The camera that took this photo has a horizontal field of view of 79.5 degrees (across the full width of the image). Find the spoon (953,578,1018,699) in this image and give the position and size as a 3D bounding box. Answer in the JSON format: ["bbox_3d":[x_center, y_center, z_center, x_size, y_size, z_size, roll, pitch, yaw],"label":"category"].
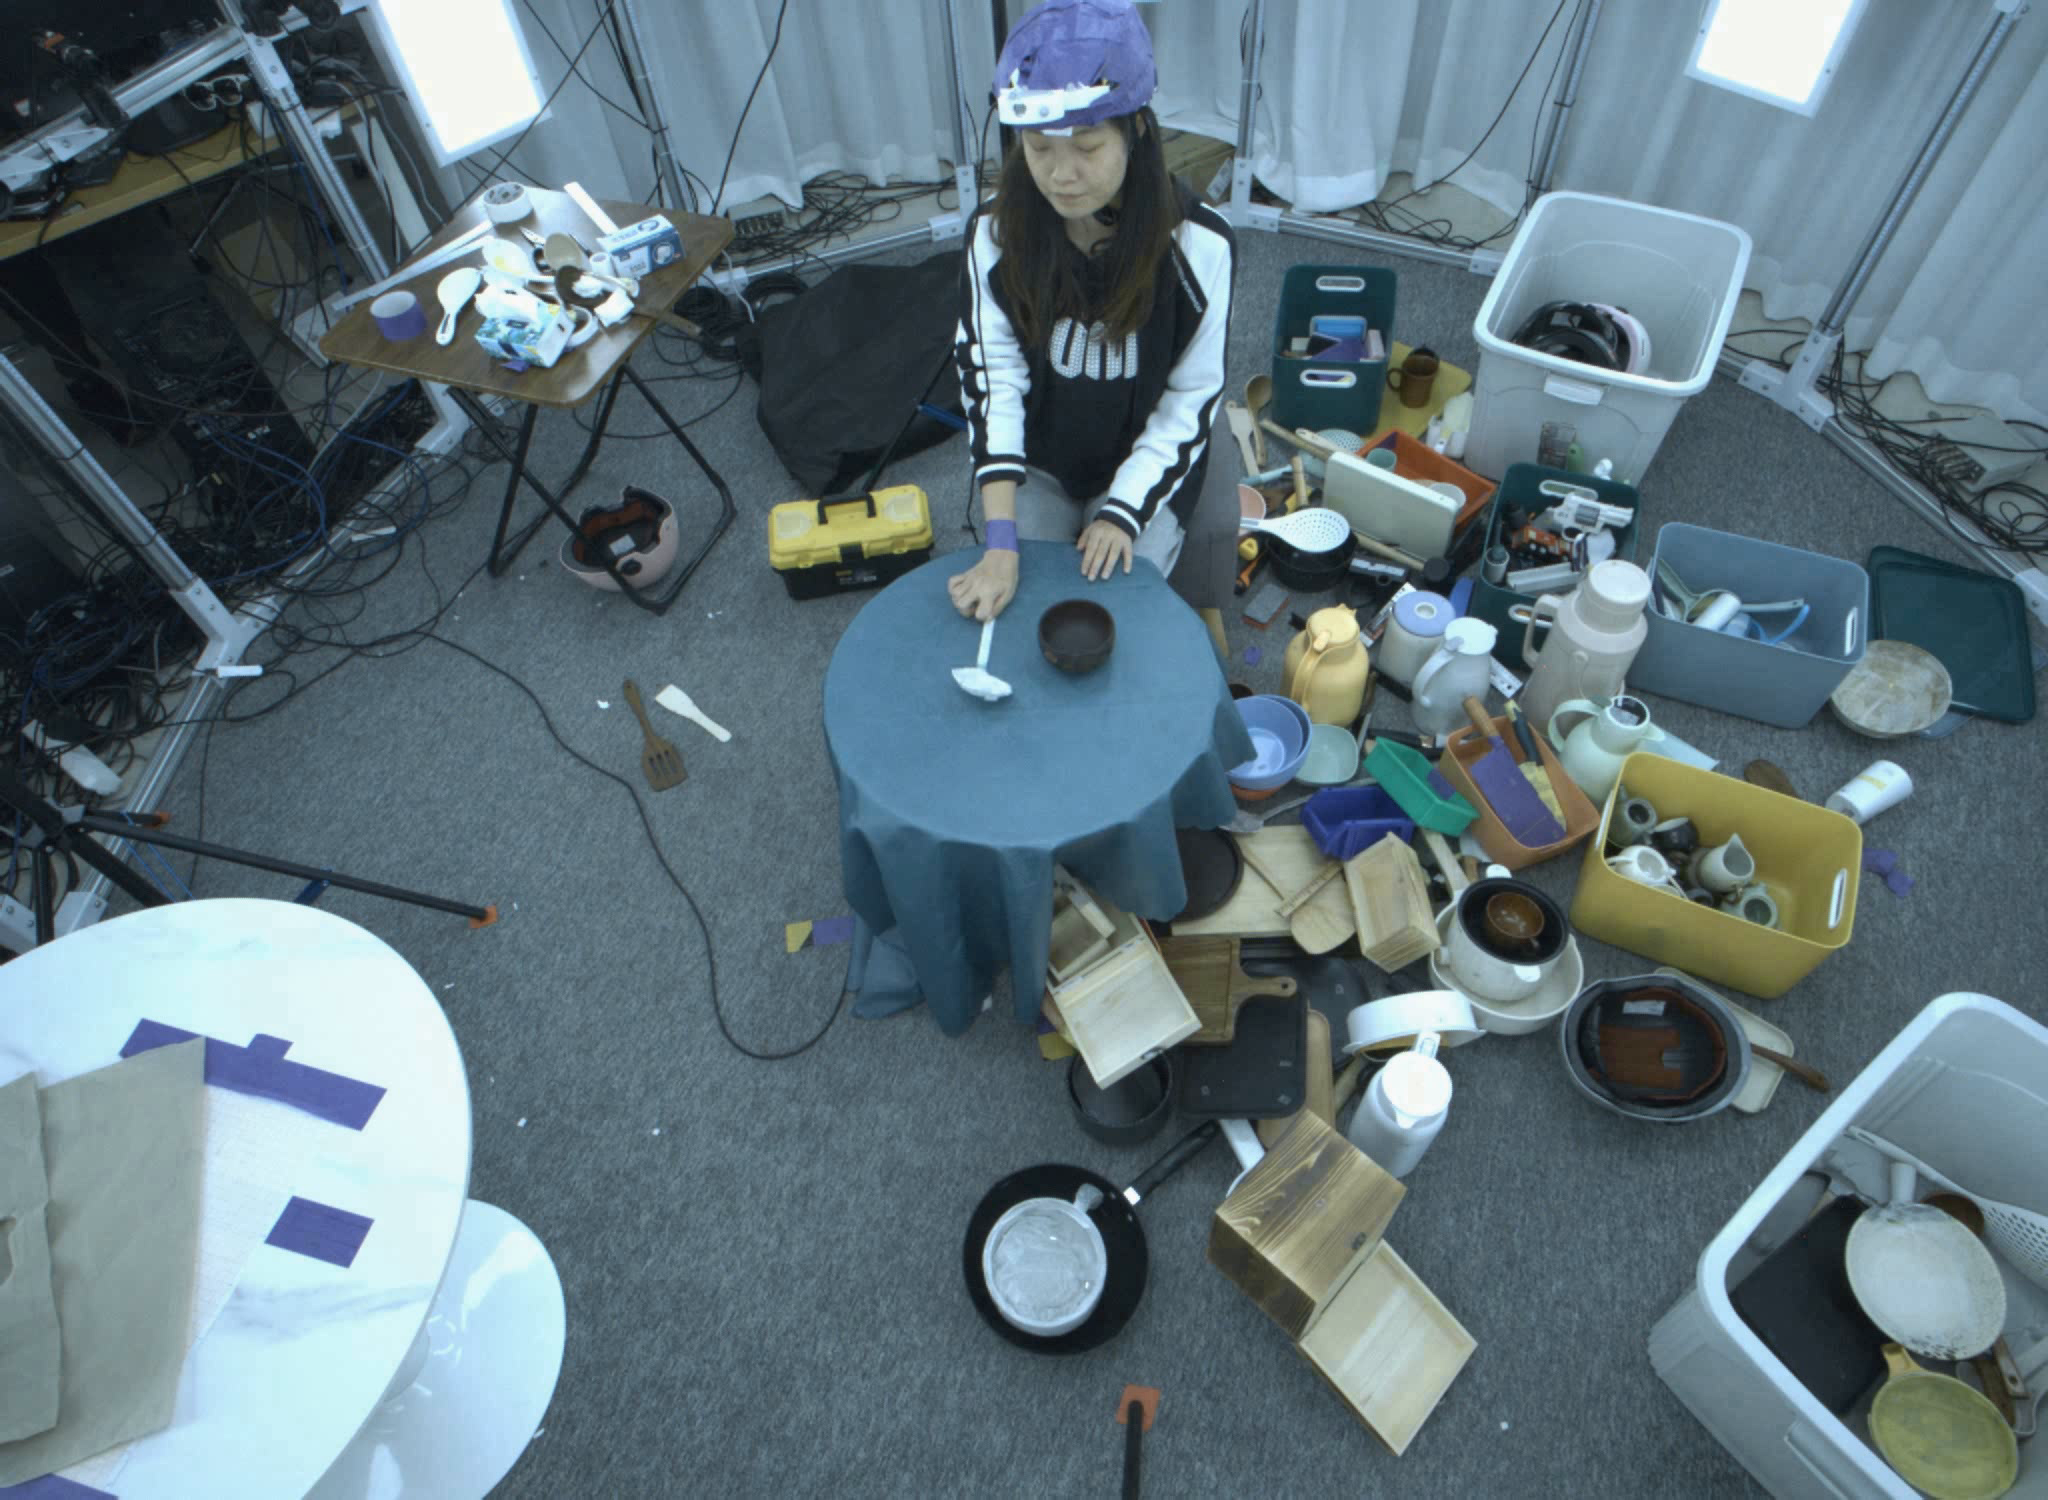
[{"bbox_3d":[-0.043,-0.179,1.884,0.102,0.059,0.275,21,53,-14],"label":"spoon"}]

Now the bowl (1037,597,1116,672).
[{"bbox_3d":[0.079,-0.166,1.857,0.118,0.070,0.117,0,55,2],"label":"bowl"}]
